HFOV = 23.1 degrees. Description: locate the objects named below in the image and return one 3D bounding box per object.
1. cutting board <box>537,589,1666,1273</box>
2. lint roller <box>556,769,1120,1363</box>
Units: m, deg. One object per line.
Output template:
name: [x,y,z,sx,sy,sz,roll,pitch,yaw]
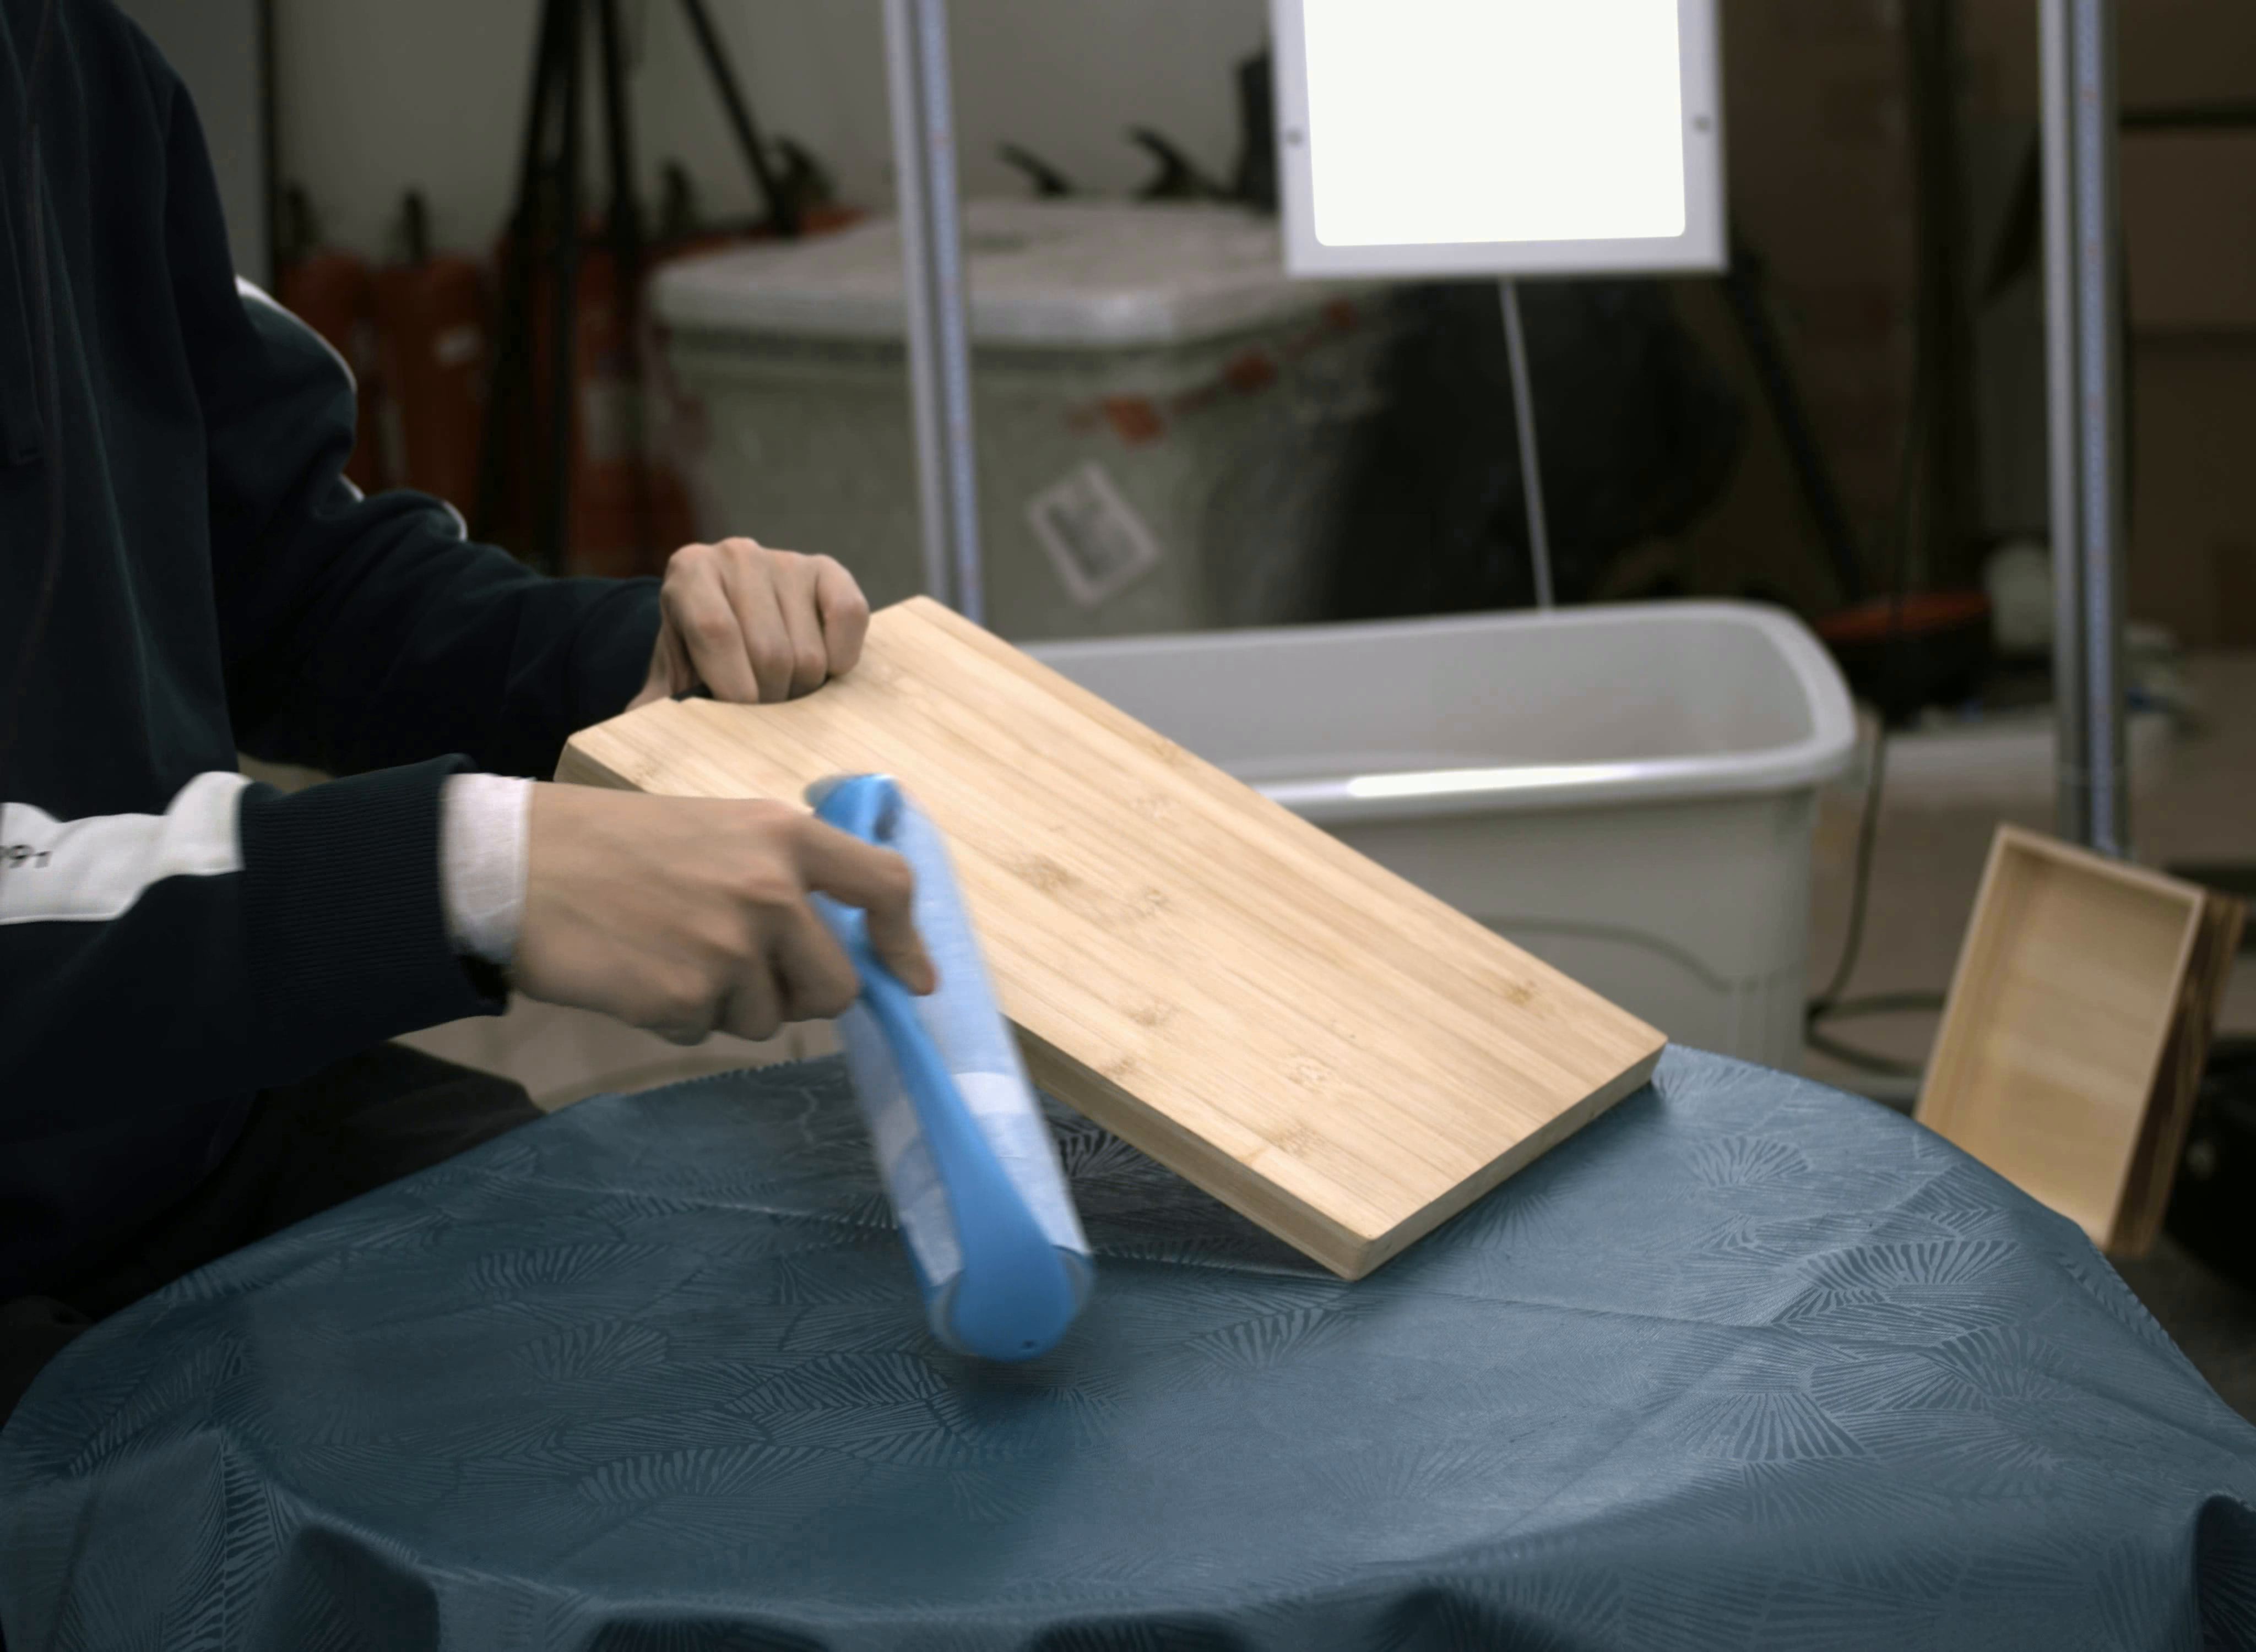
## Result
cutting board: [-0.006,0.030,1.937,0.352,0.024,0.245,30,27,20]
lint roller: [-0.092,0.059,1.735,0.176,0.069,0.230,24,34,-41]
